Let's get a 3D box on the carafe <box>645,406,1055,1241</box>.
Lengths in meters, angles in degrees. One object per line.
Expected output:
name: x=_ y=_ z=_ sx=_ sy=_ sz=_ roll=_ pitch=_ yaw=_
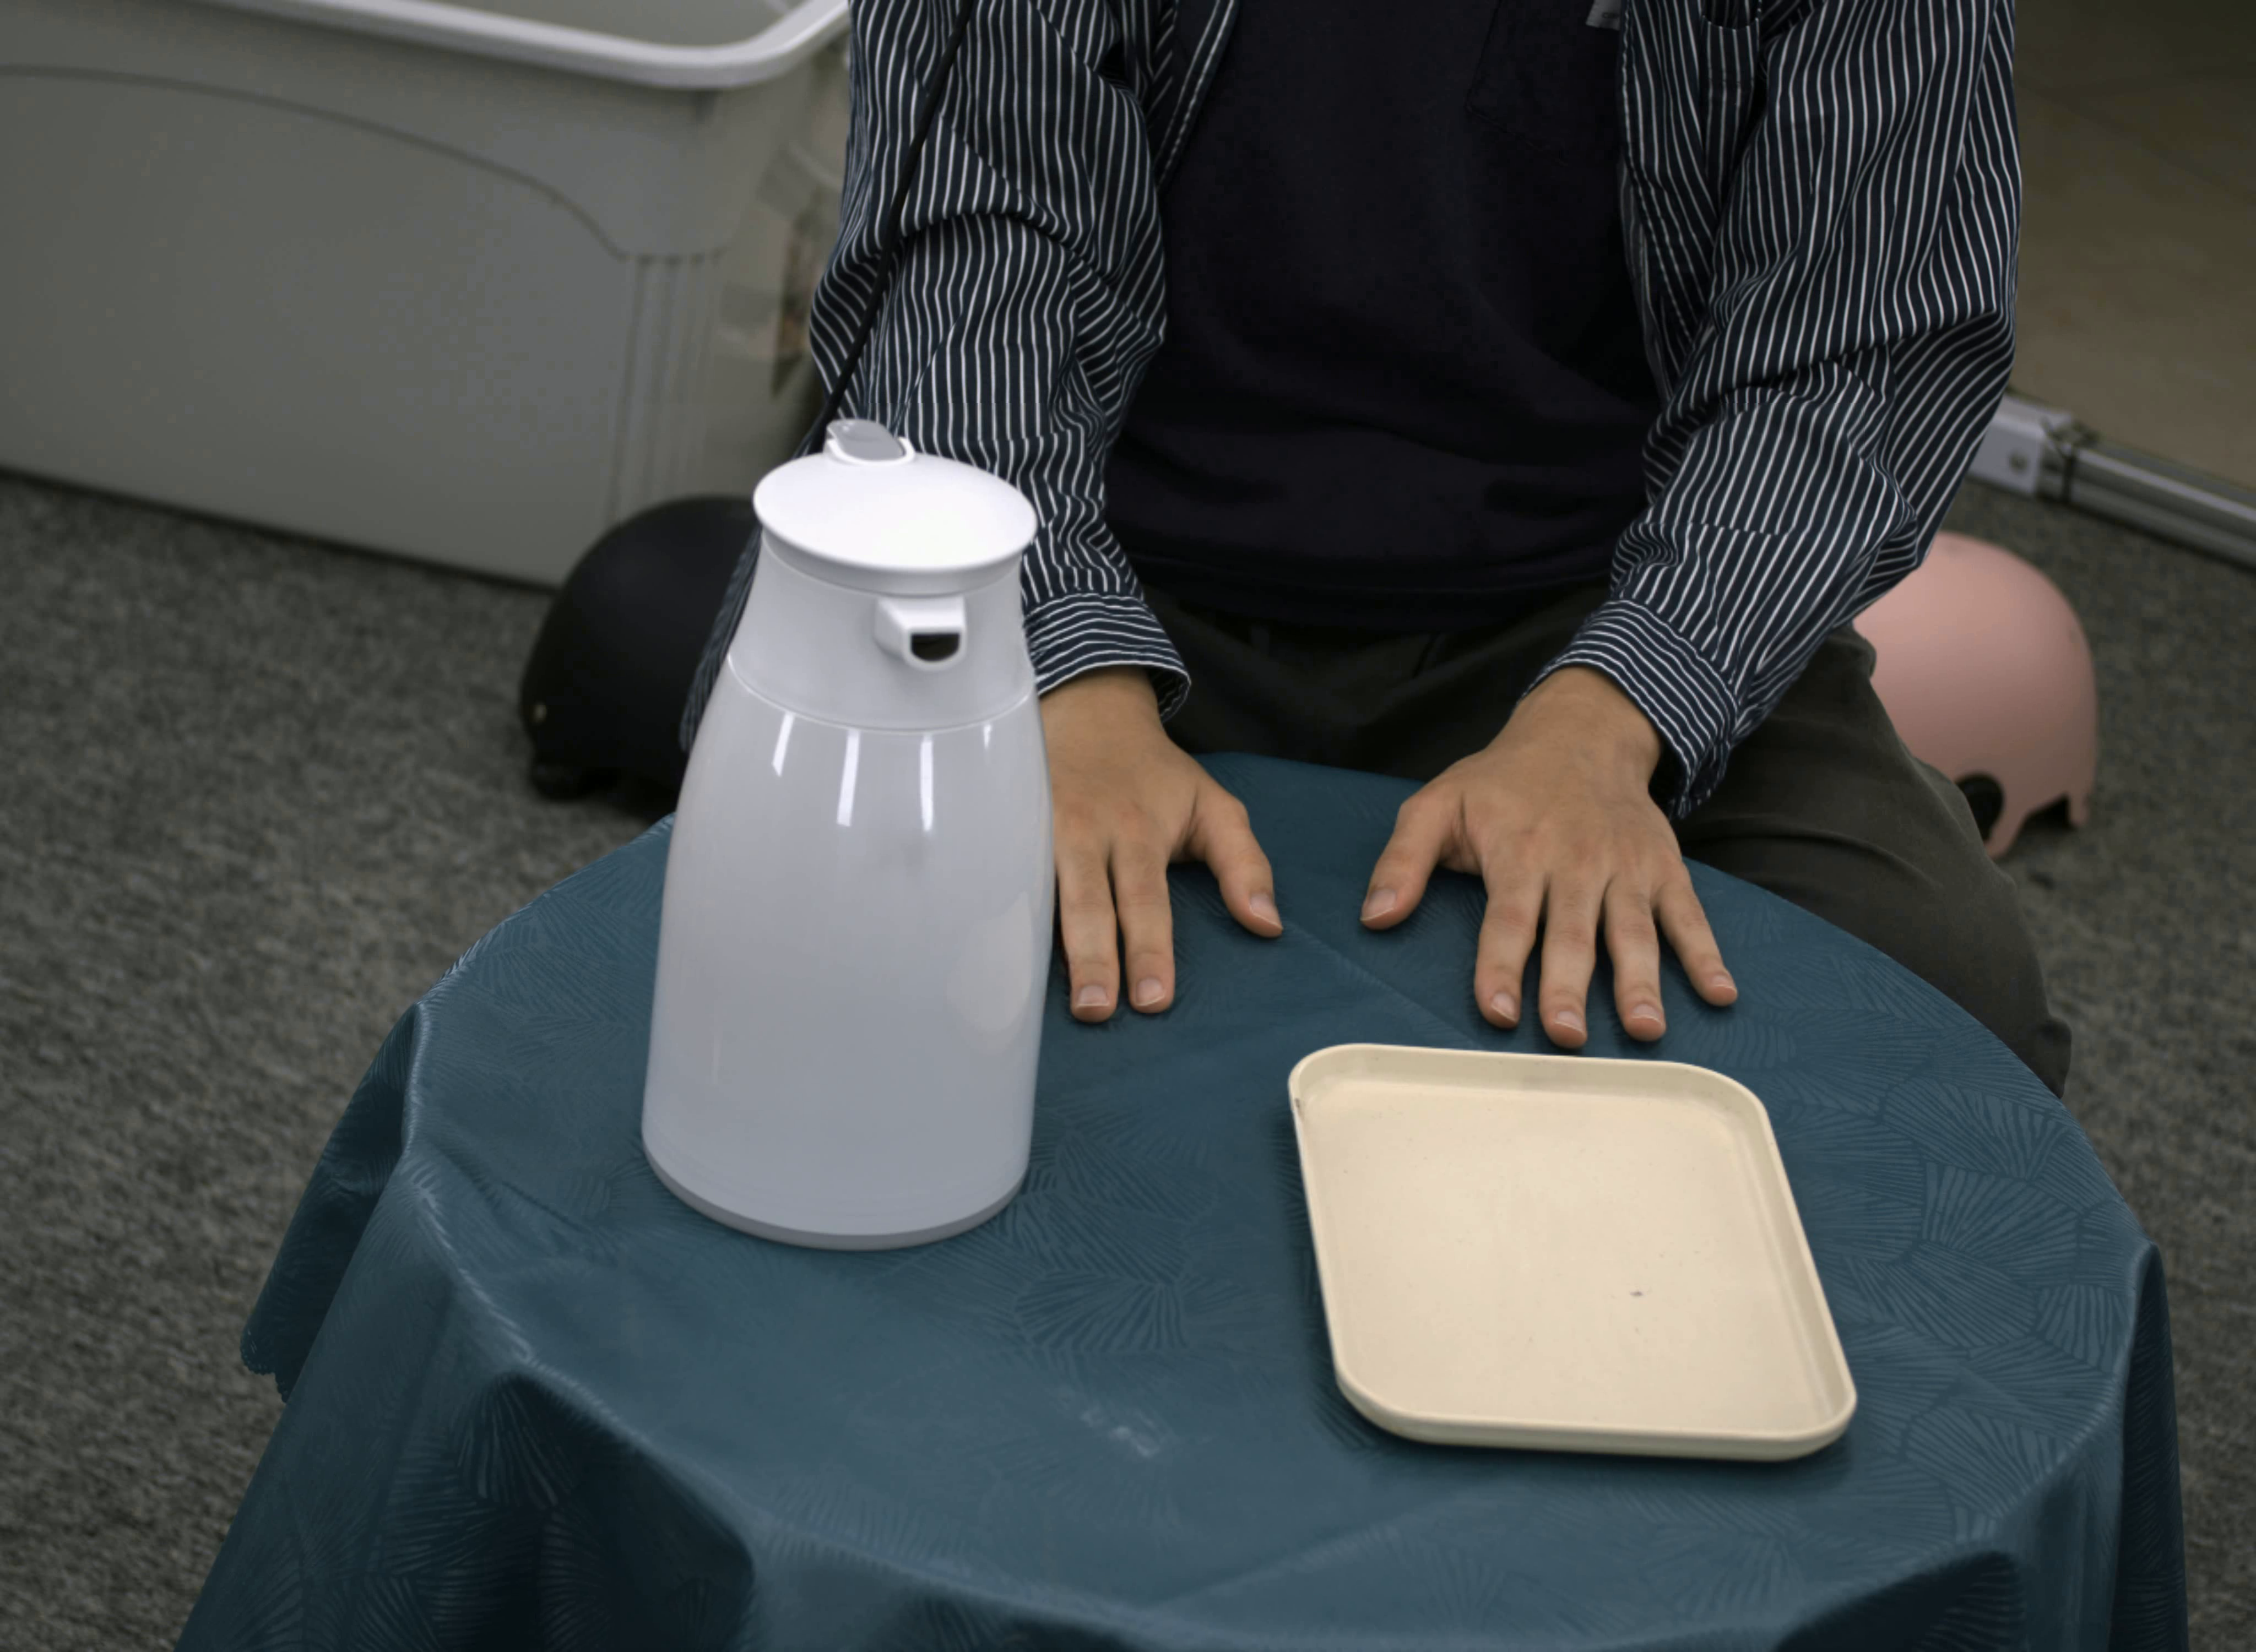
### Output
carafe: x=-0.094 y=-0.011 z=1.766 sx=0.132 sy=0.248 sz=0.169 roll=-5 pitch=27 yaw=-20

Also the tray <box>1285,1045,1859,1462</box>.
tray: x=0.143 y=0.142 z=1.775 sx=0.170 sy=0.017 sz=0.241 roll=4 pitch=26 yaw=-6
